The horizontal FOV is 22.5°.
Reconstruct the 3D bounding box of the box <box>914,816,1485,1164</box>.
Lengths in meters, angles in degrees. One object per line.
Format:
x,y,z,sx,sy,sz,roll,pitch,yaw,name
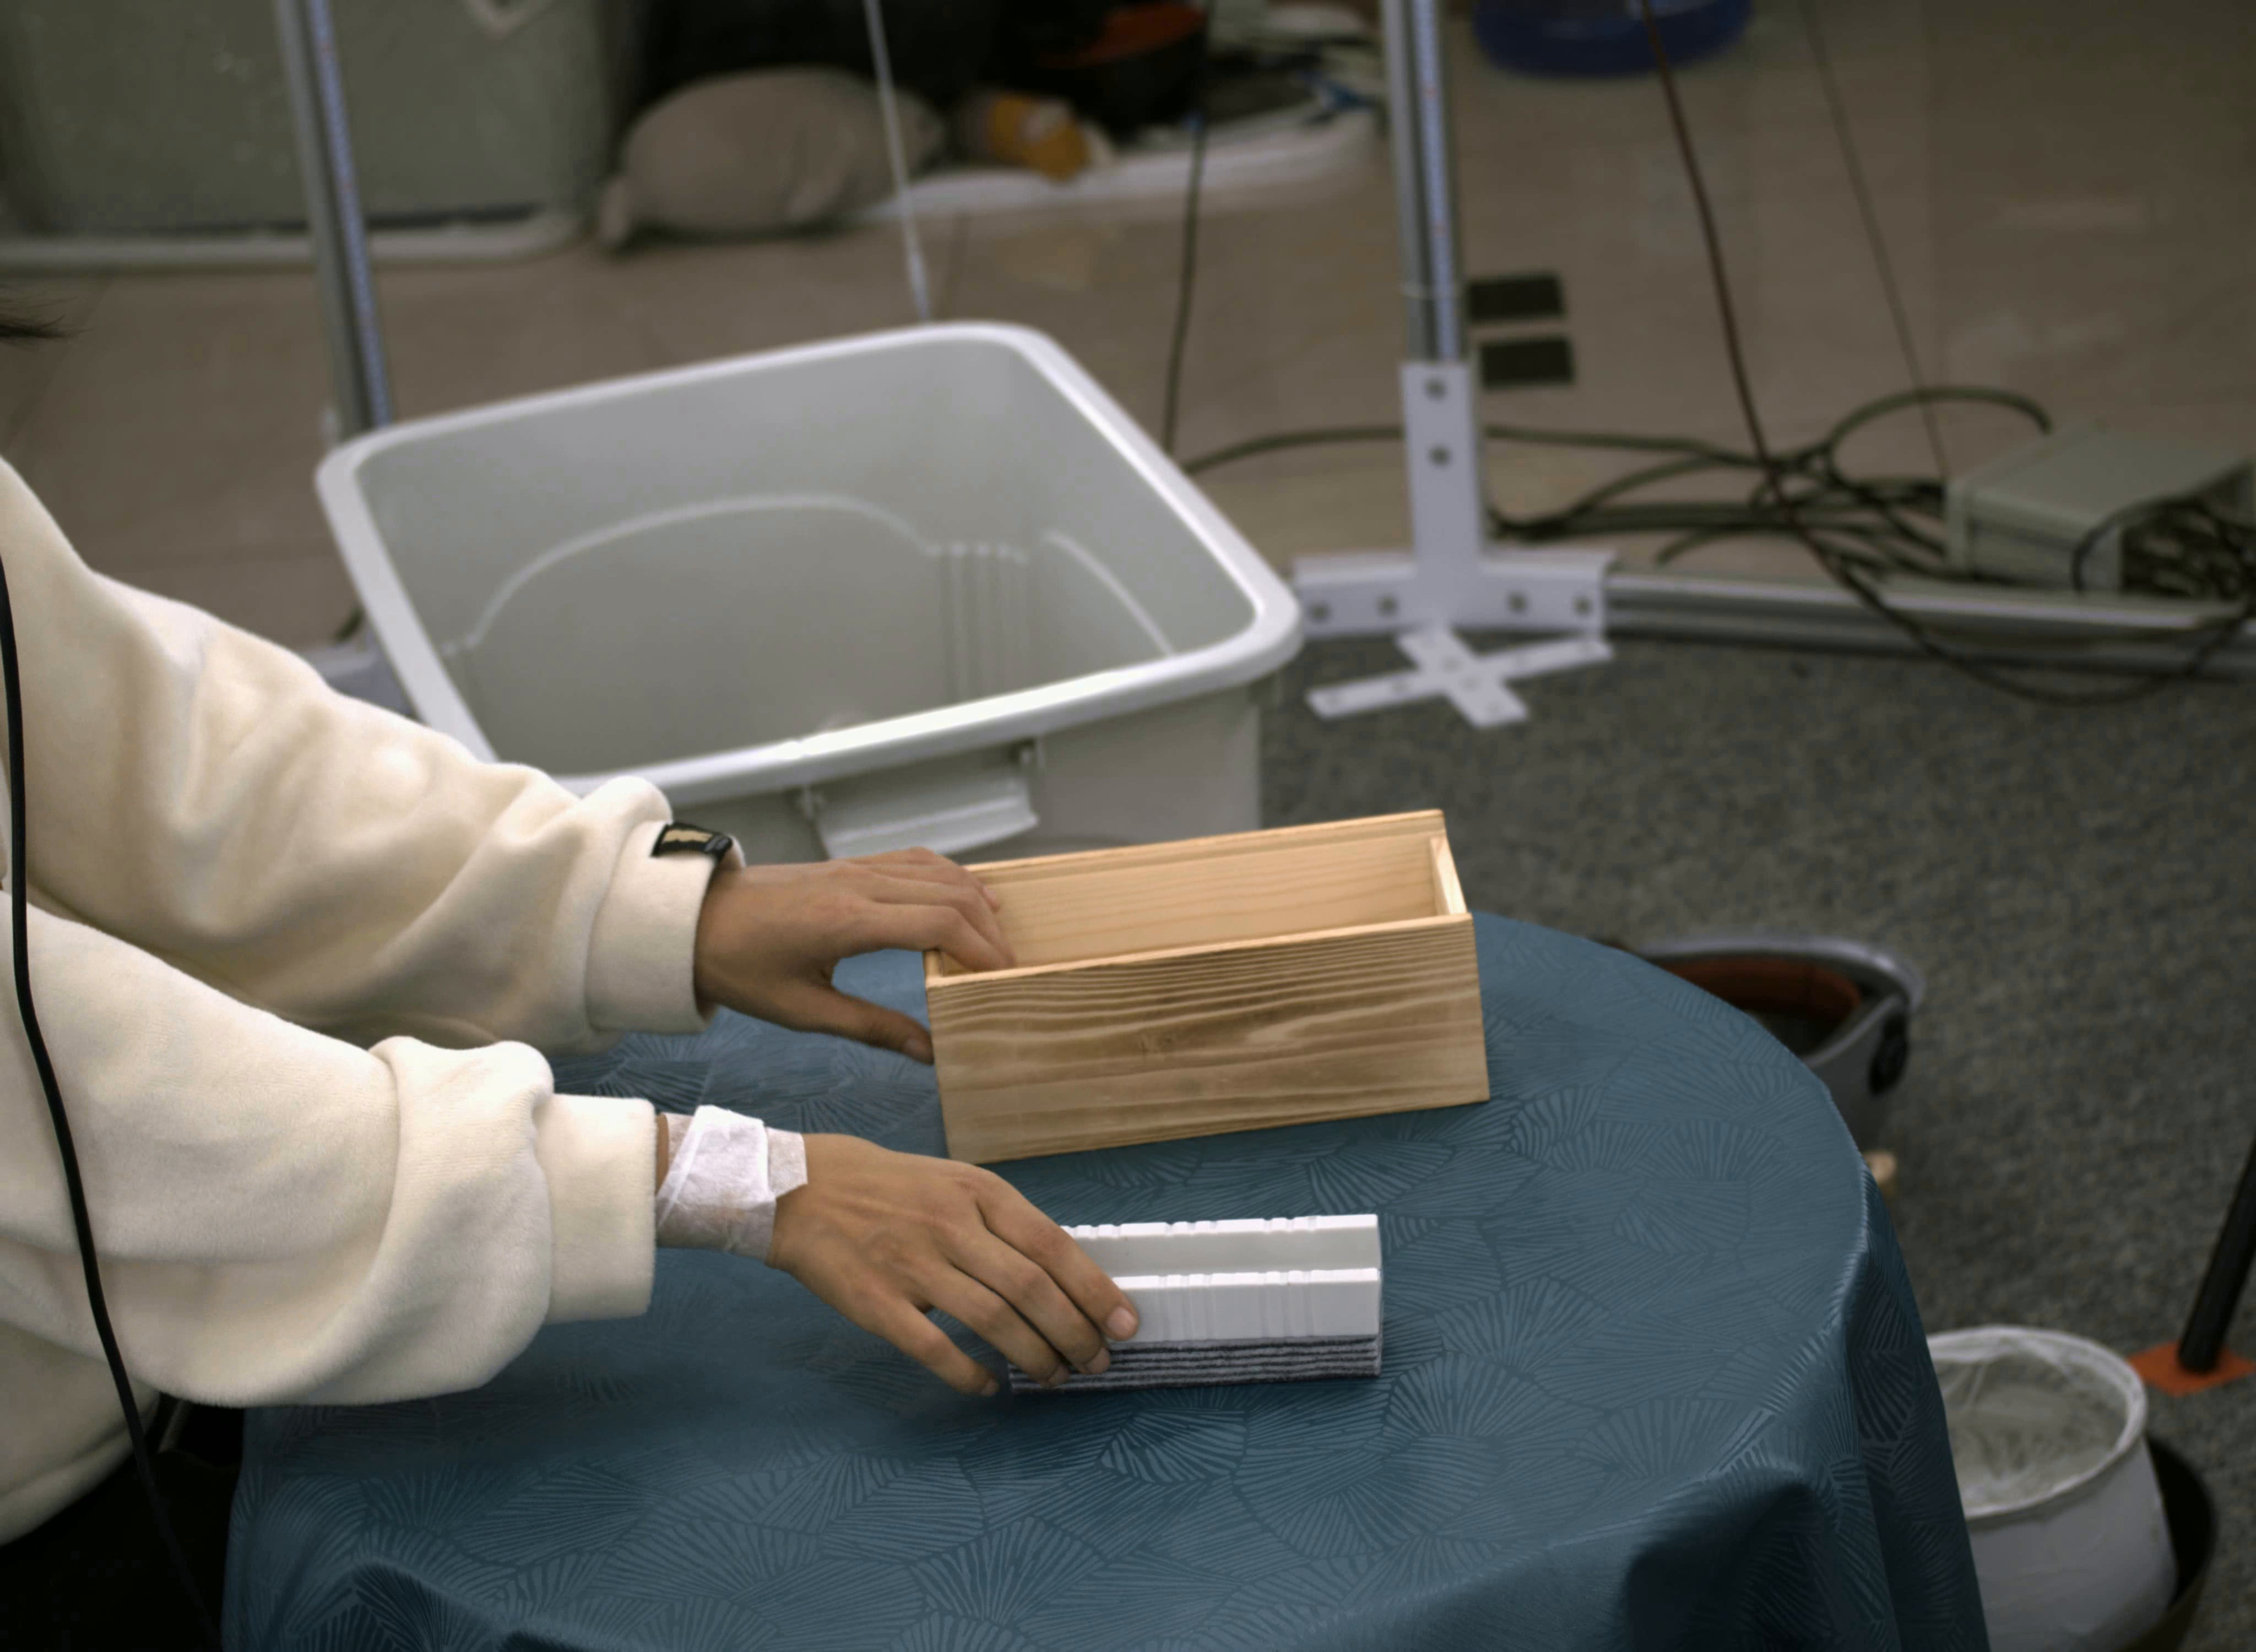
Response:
0.026,0.063,2.210,0.211,0.081,0.106,-7,25,-2,box

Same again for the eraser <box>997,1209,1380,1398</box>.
0.022,0.170,2.019,0.134,0.047,0.049,-3,28,3,eraser
